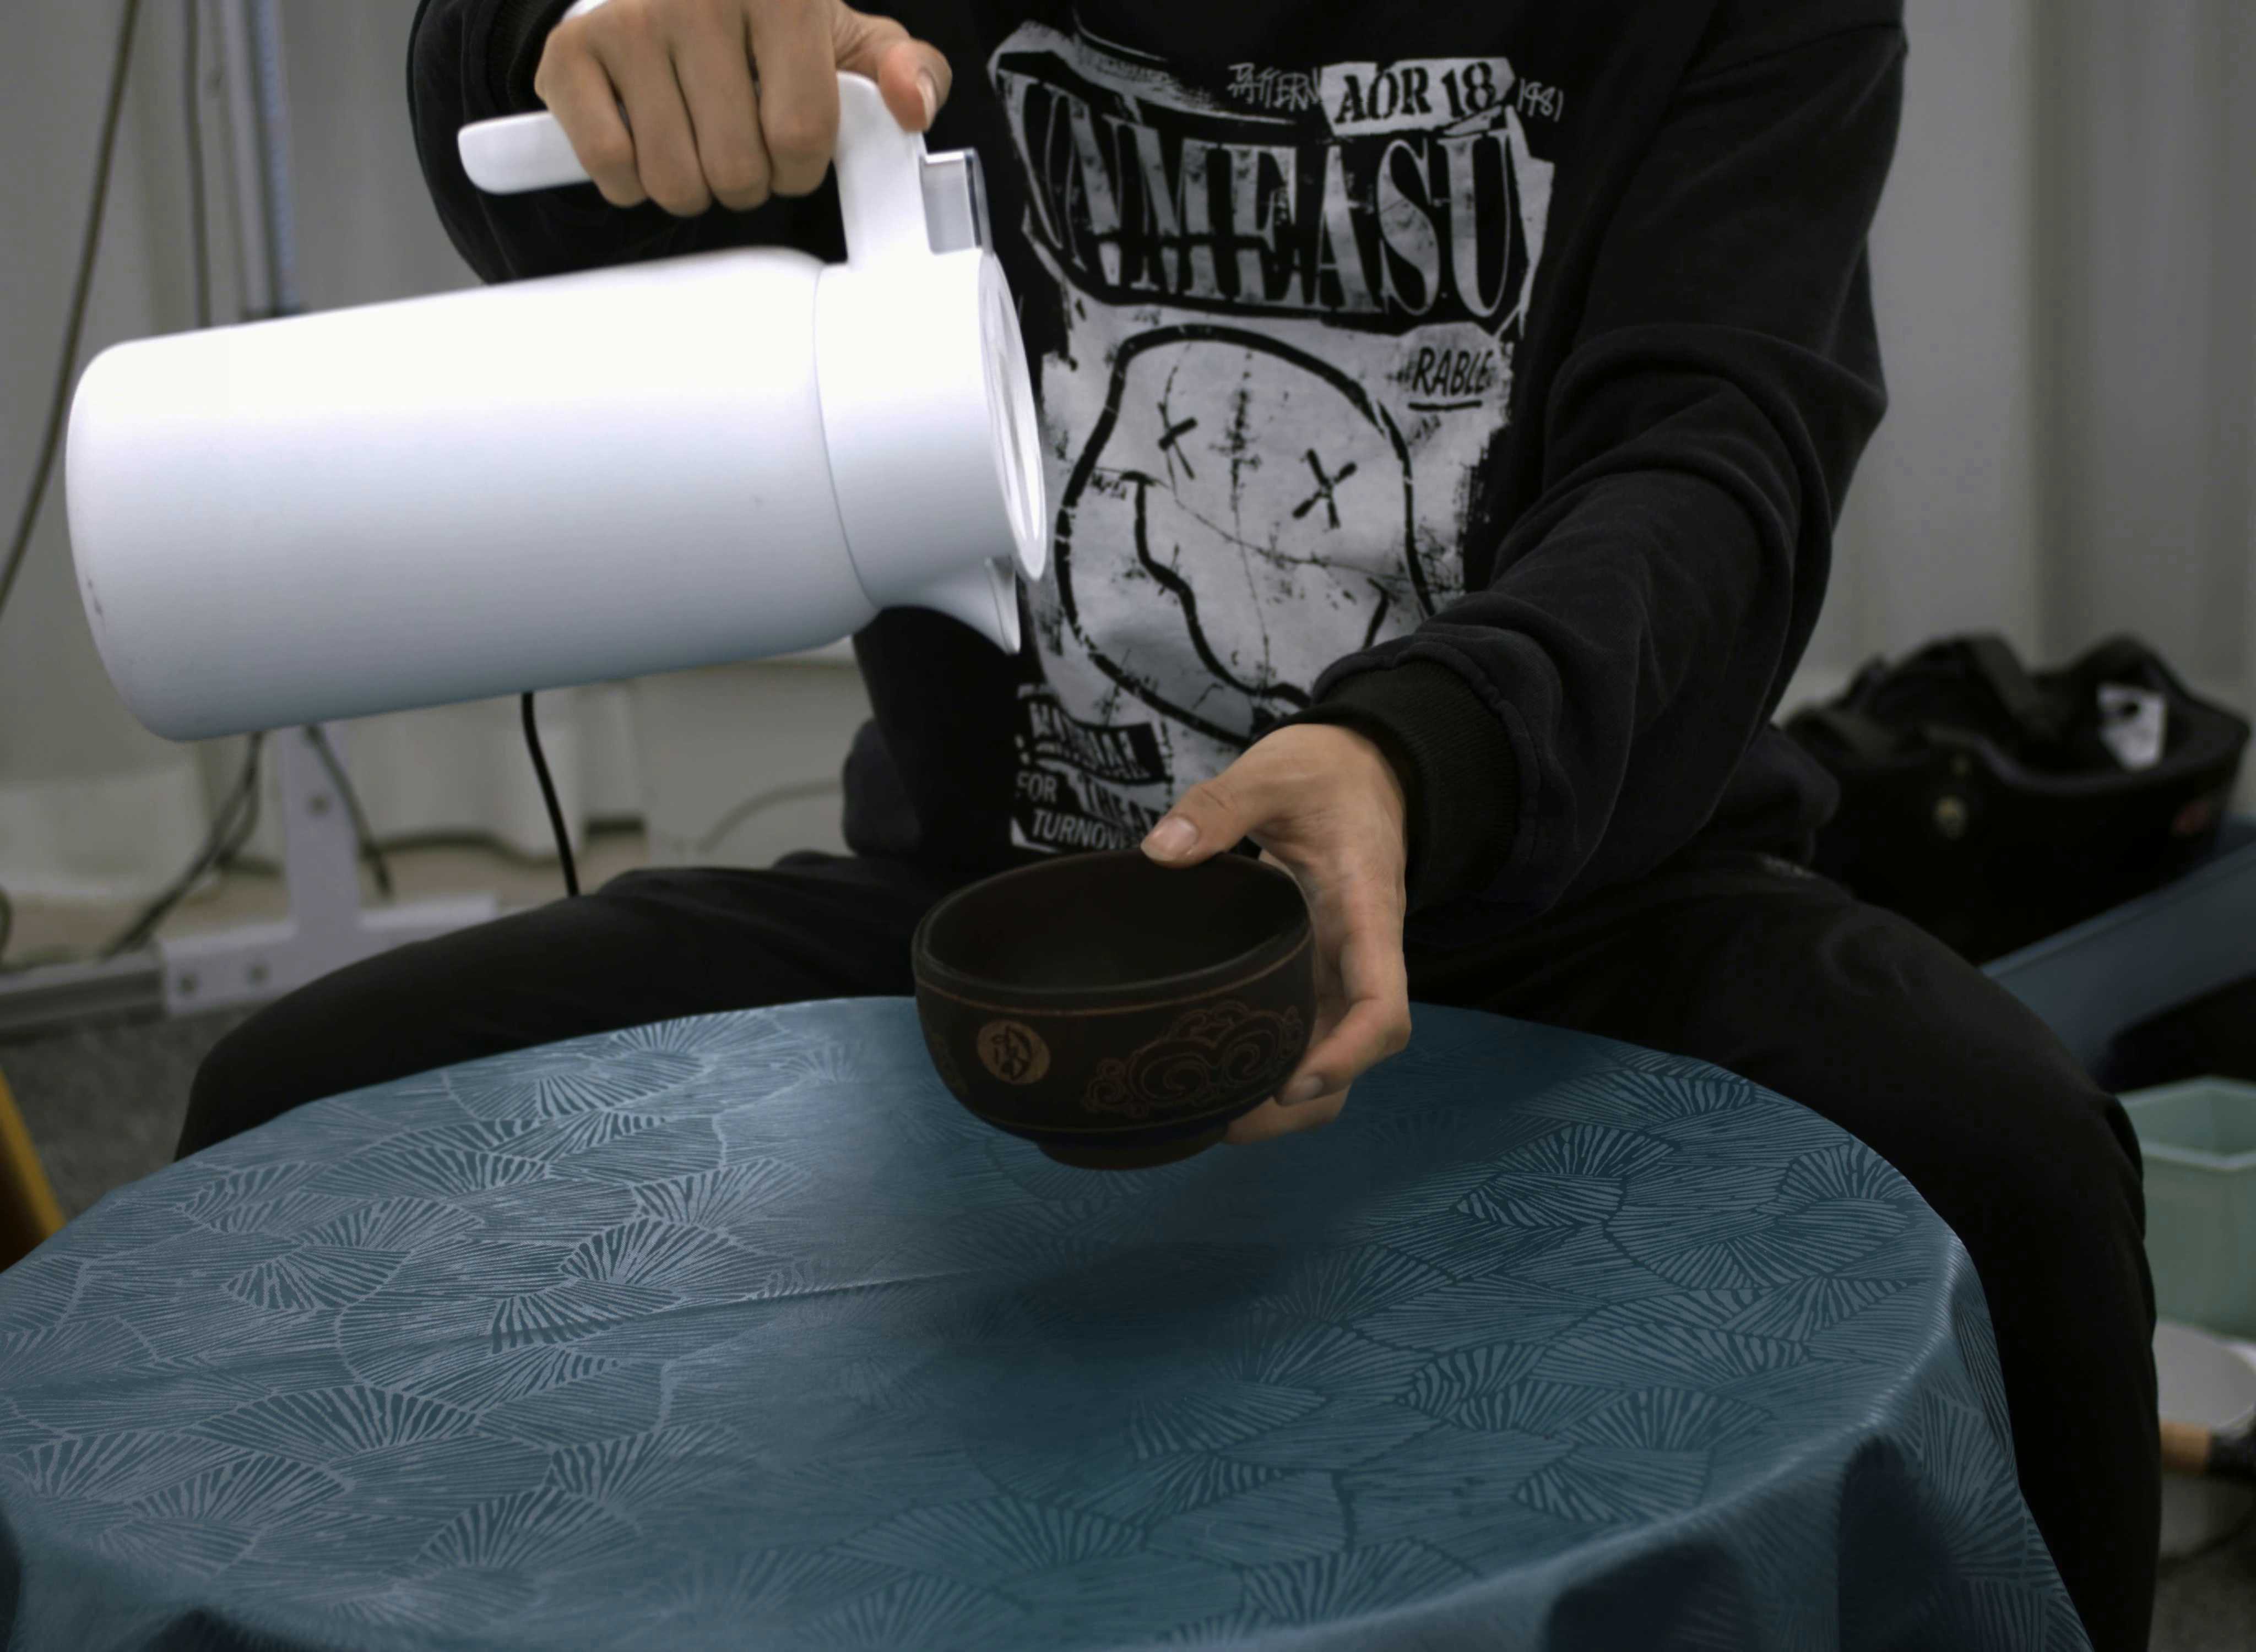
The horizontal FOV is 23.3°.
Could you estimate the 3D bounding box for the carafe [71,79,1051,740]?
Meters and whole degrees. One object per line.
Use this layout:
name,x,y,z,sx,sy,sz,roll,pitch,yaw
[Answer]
carafe,-0.163,-0.115,1.573,0.268,0.173,0.124,-8,3,9

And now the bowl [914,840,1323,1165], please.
bowl,-0.001,0.056,1.587,0.117,0.069,0.119,-6,18,2
